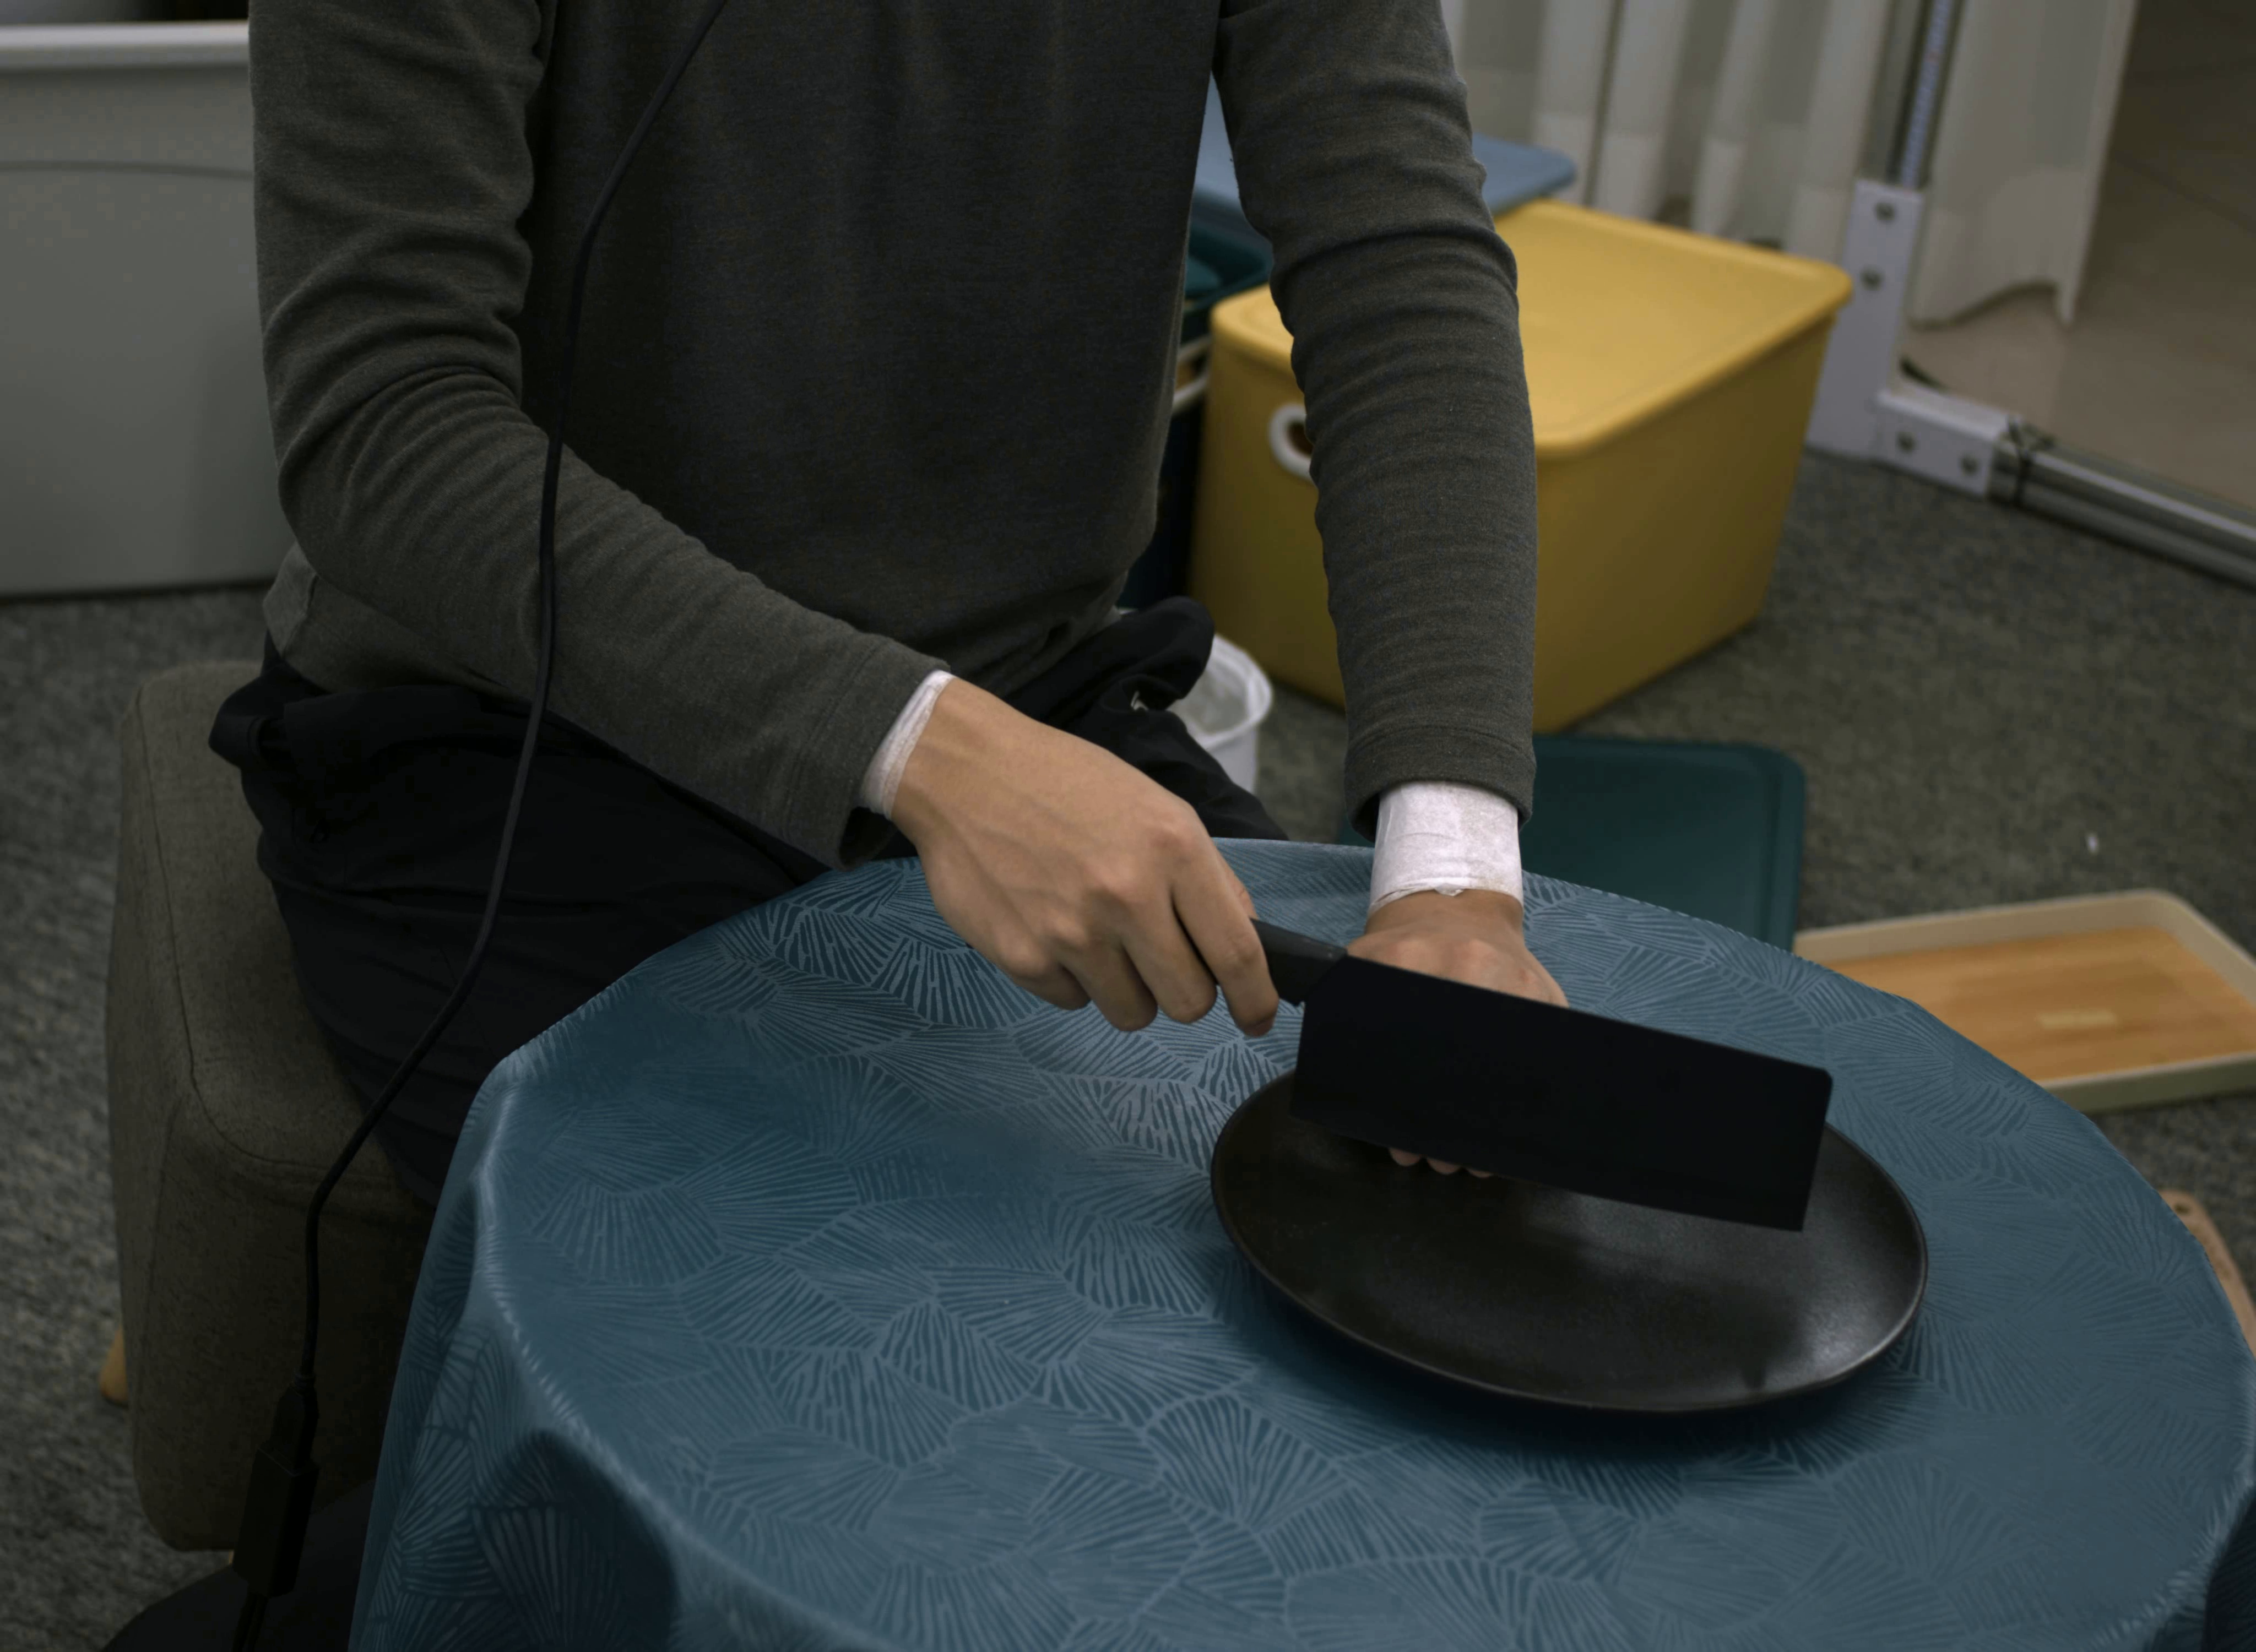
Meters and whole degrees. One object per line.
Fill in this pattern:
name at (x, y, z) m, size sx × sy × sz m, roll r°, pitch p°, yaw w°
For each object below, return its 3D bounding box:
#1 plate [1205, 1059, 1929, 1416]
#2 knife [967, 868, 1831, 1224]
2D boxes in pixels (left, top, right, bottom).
plate at (0.146, 0.138, 1.786) m, size 0.243 × 0.023 × 0.246 m, roll 5°, pitch 27°, yaw -3°
knife at (0.088, 0.072, 1.800) m, size 0.303 × 0.081 × 0.021 m, roll 17°, pitch 22°, yaw 13°
